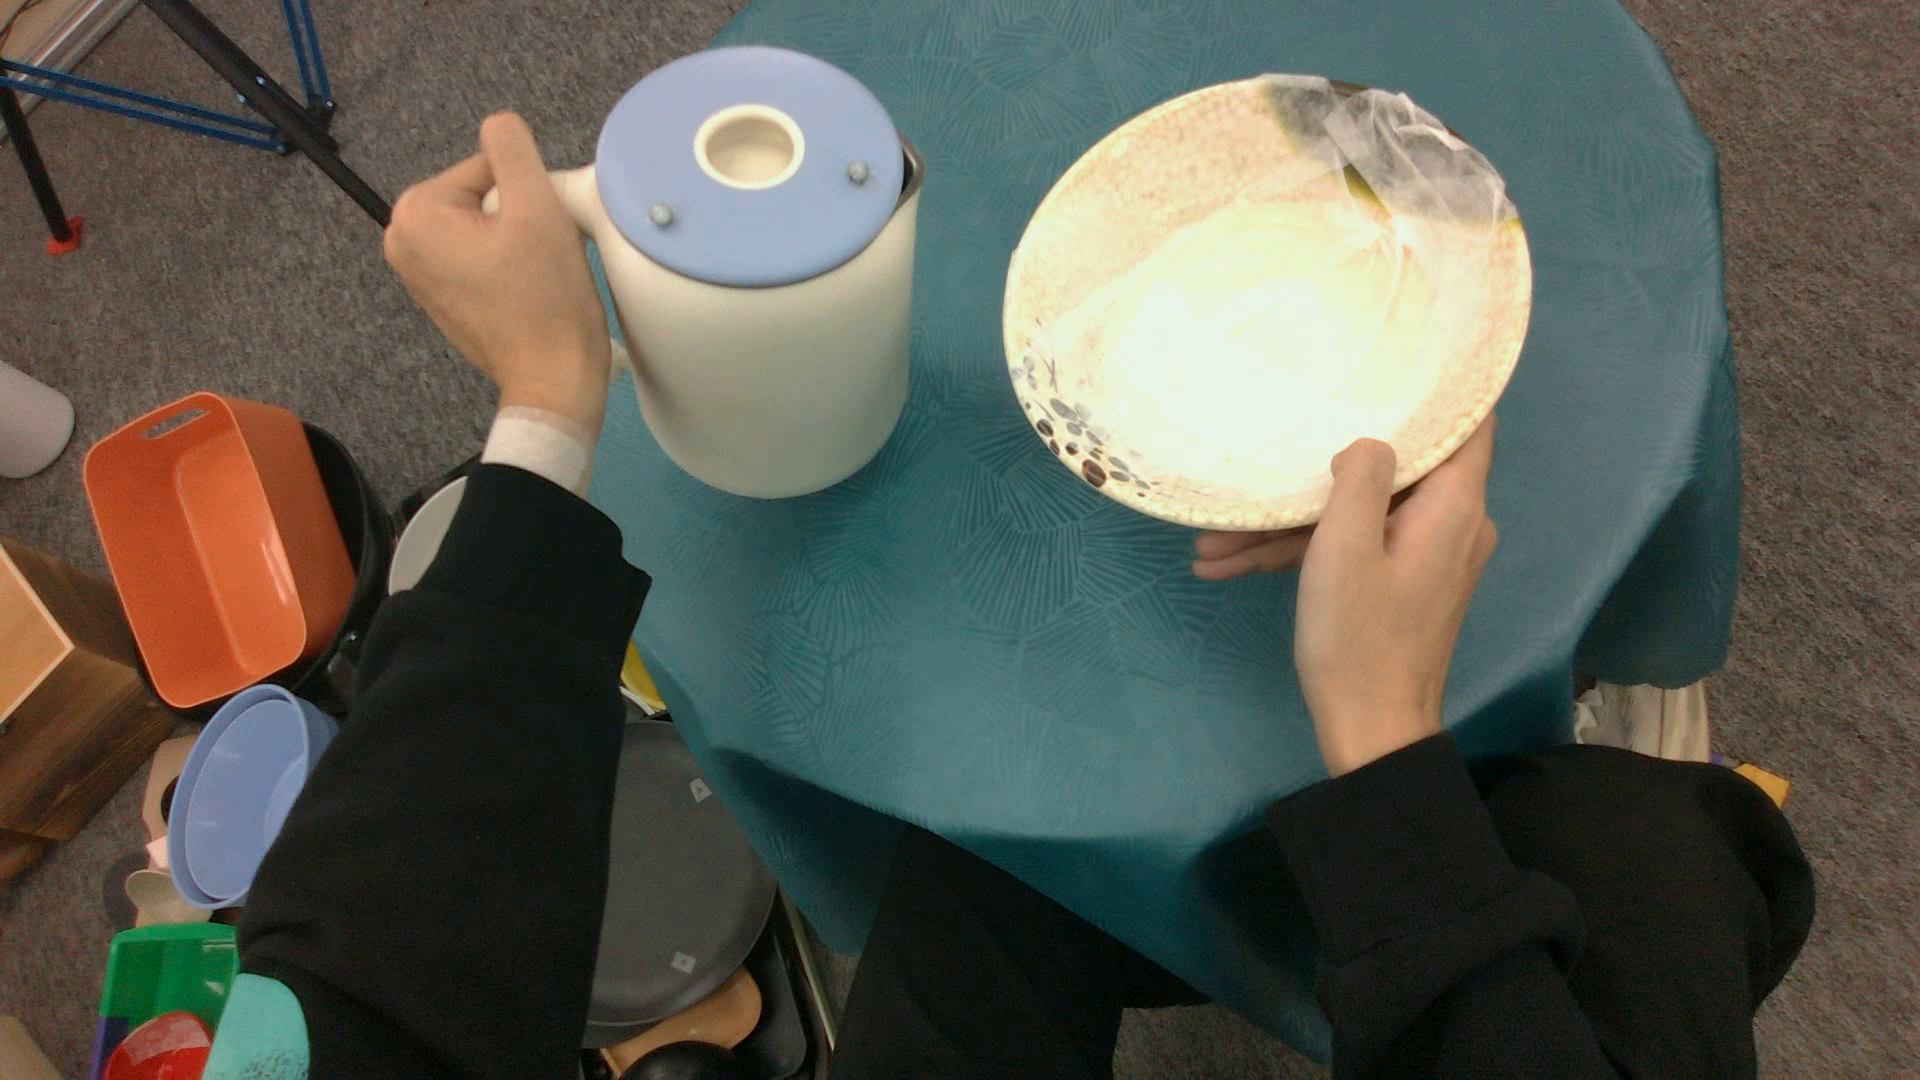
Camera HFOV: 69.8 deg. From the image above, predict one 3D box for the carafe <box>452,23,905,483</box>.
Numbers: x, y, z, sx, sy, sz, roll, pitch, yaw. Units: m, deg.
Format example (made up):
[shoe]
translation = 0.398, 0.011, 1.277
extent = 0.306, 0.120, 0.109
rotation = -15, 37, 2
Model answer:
[carafe]
translation = -0.120, -0.118, 0.604
extent = 0.191, 0.182, 0.132
rotation = -4, 63, -5

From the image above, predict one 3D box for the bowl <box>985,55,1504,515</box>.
[bowl]
translation = 0.118, -0.096, 0.581
extent = 0.204, 0.078, 0.204
rotation = -5, 71, 14
